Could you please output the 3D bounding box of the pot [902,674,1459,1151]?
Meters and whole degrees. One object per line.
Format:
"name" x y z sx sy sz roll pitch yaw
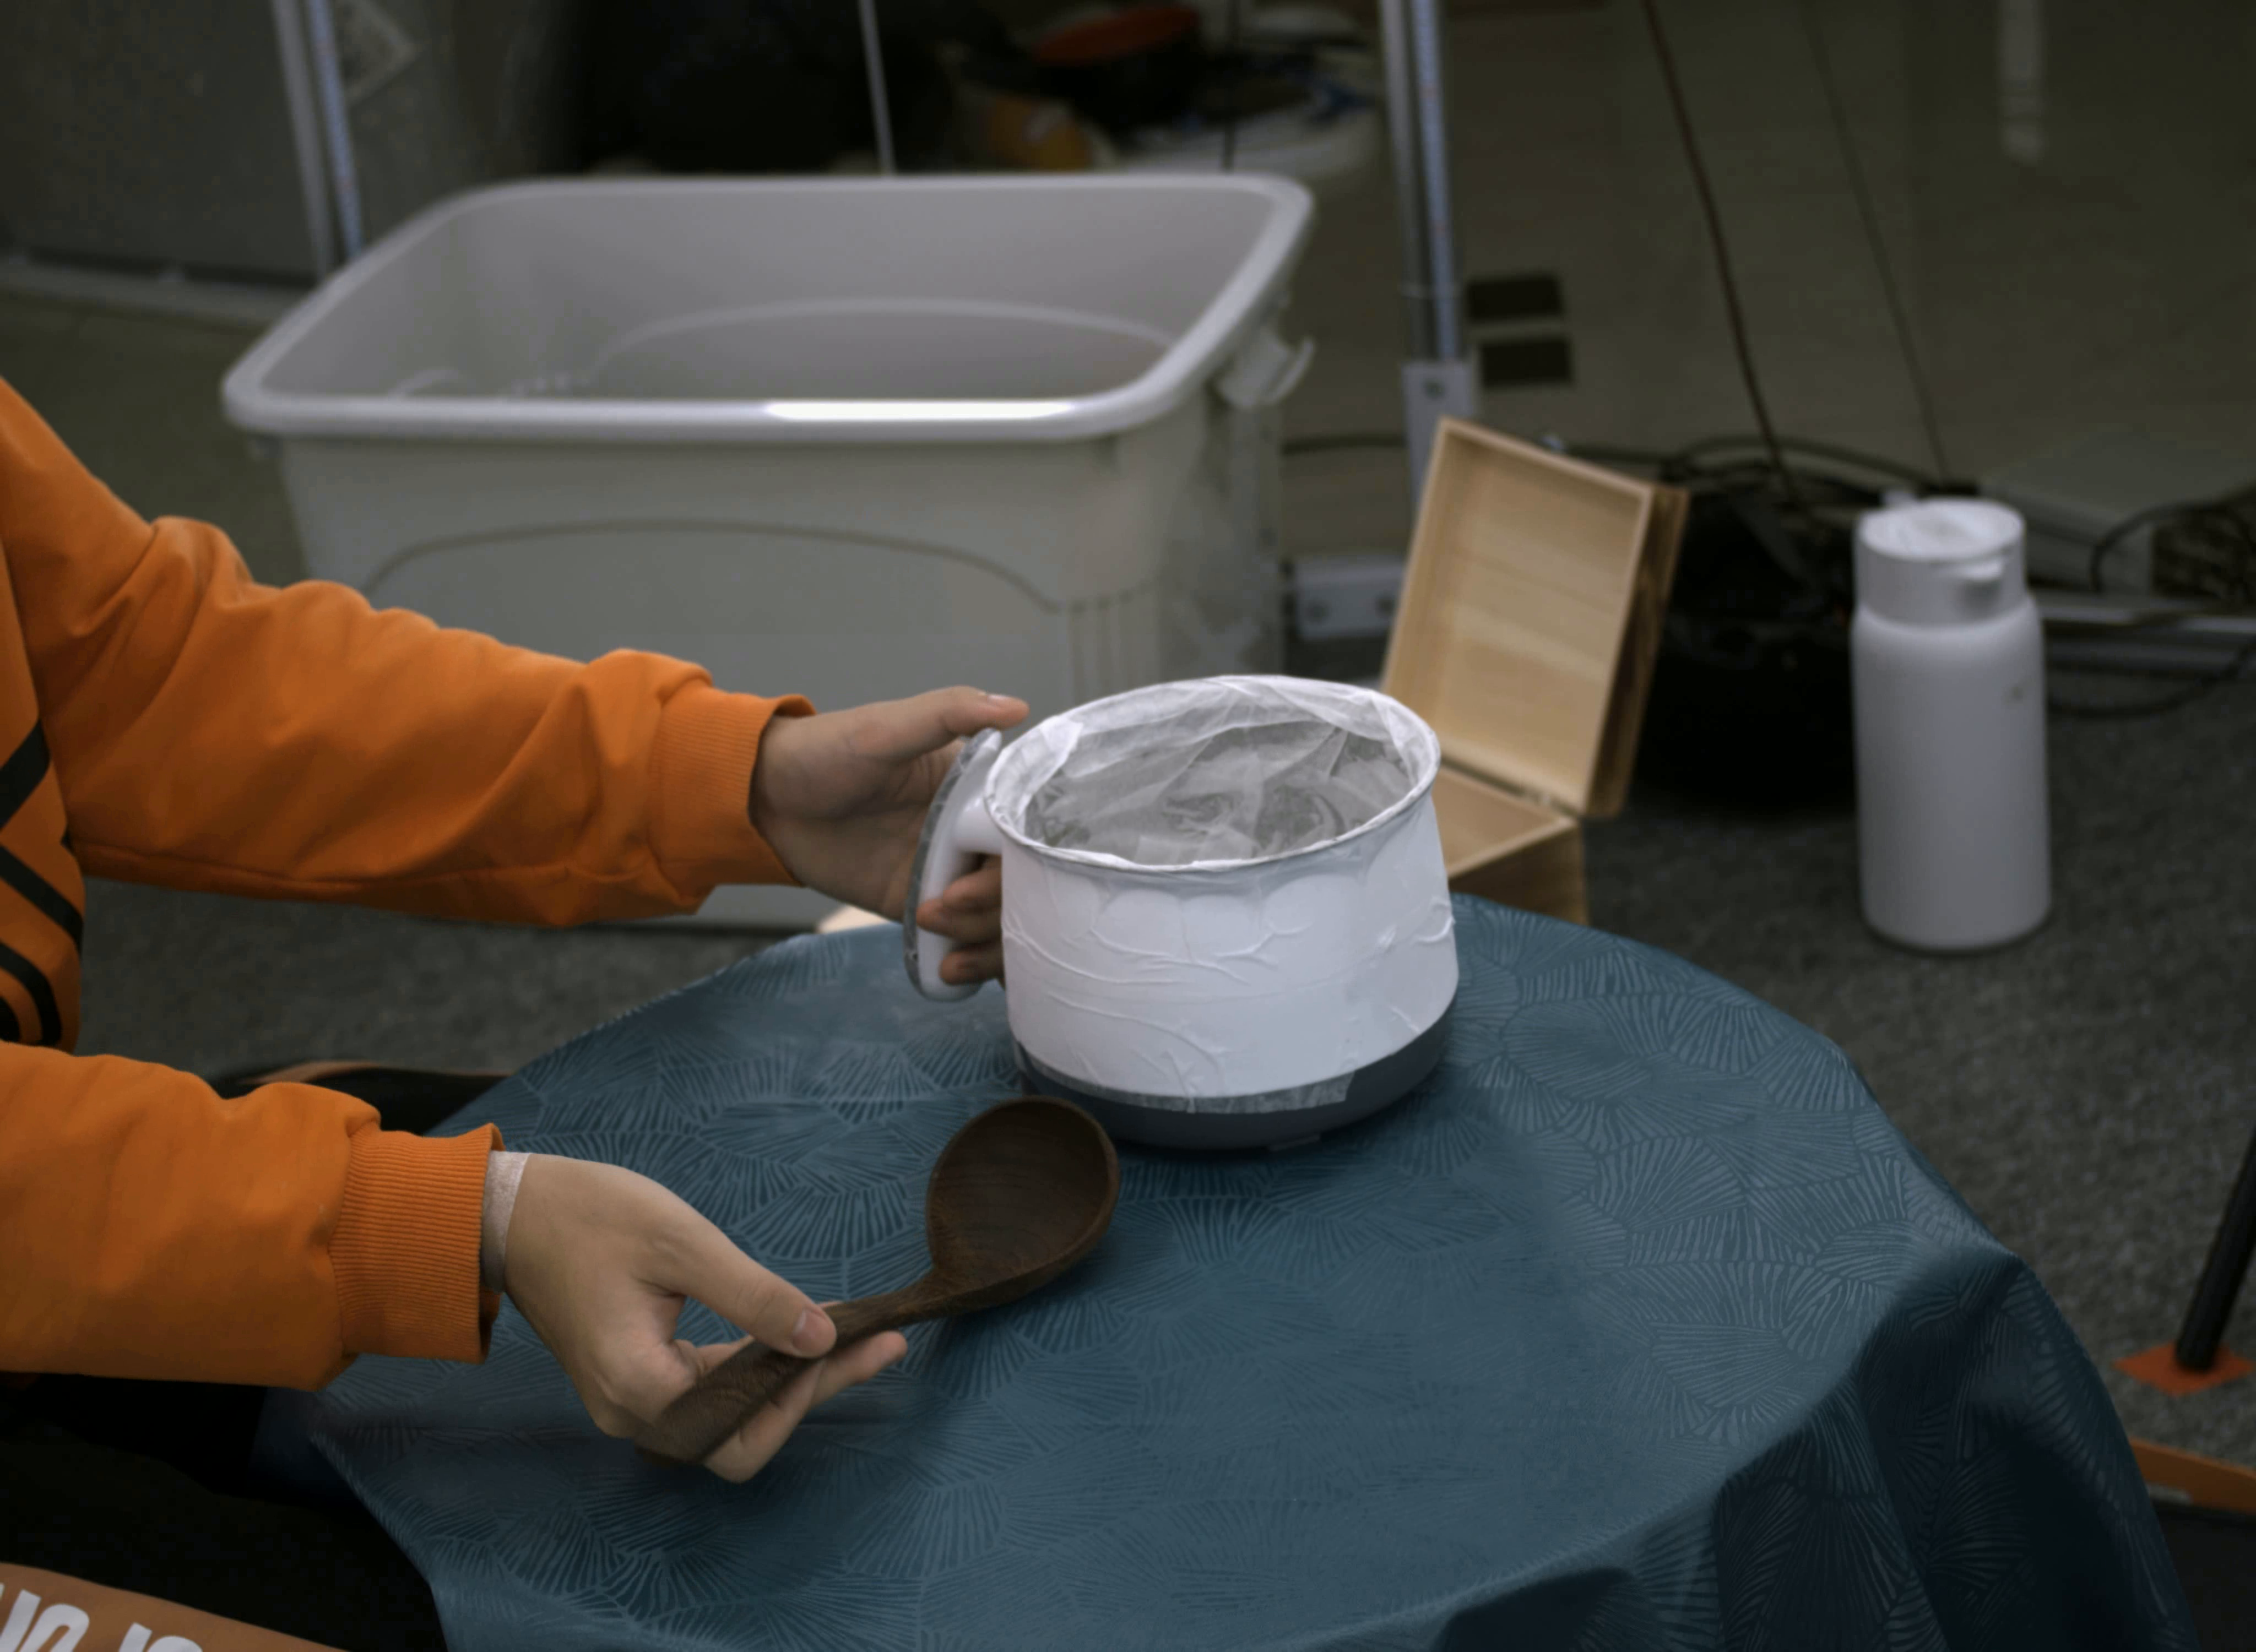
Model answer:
"pot" 0.014 0.032 2.207 0.233 0.139 0.176 8 28 26

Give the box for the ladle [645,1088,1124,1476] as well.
"ladle" -0.088 0.156 2.006 0.075 0.072 0.272 9 16 27
